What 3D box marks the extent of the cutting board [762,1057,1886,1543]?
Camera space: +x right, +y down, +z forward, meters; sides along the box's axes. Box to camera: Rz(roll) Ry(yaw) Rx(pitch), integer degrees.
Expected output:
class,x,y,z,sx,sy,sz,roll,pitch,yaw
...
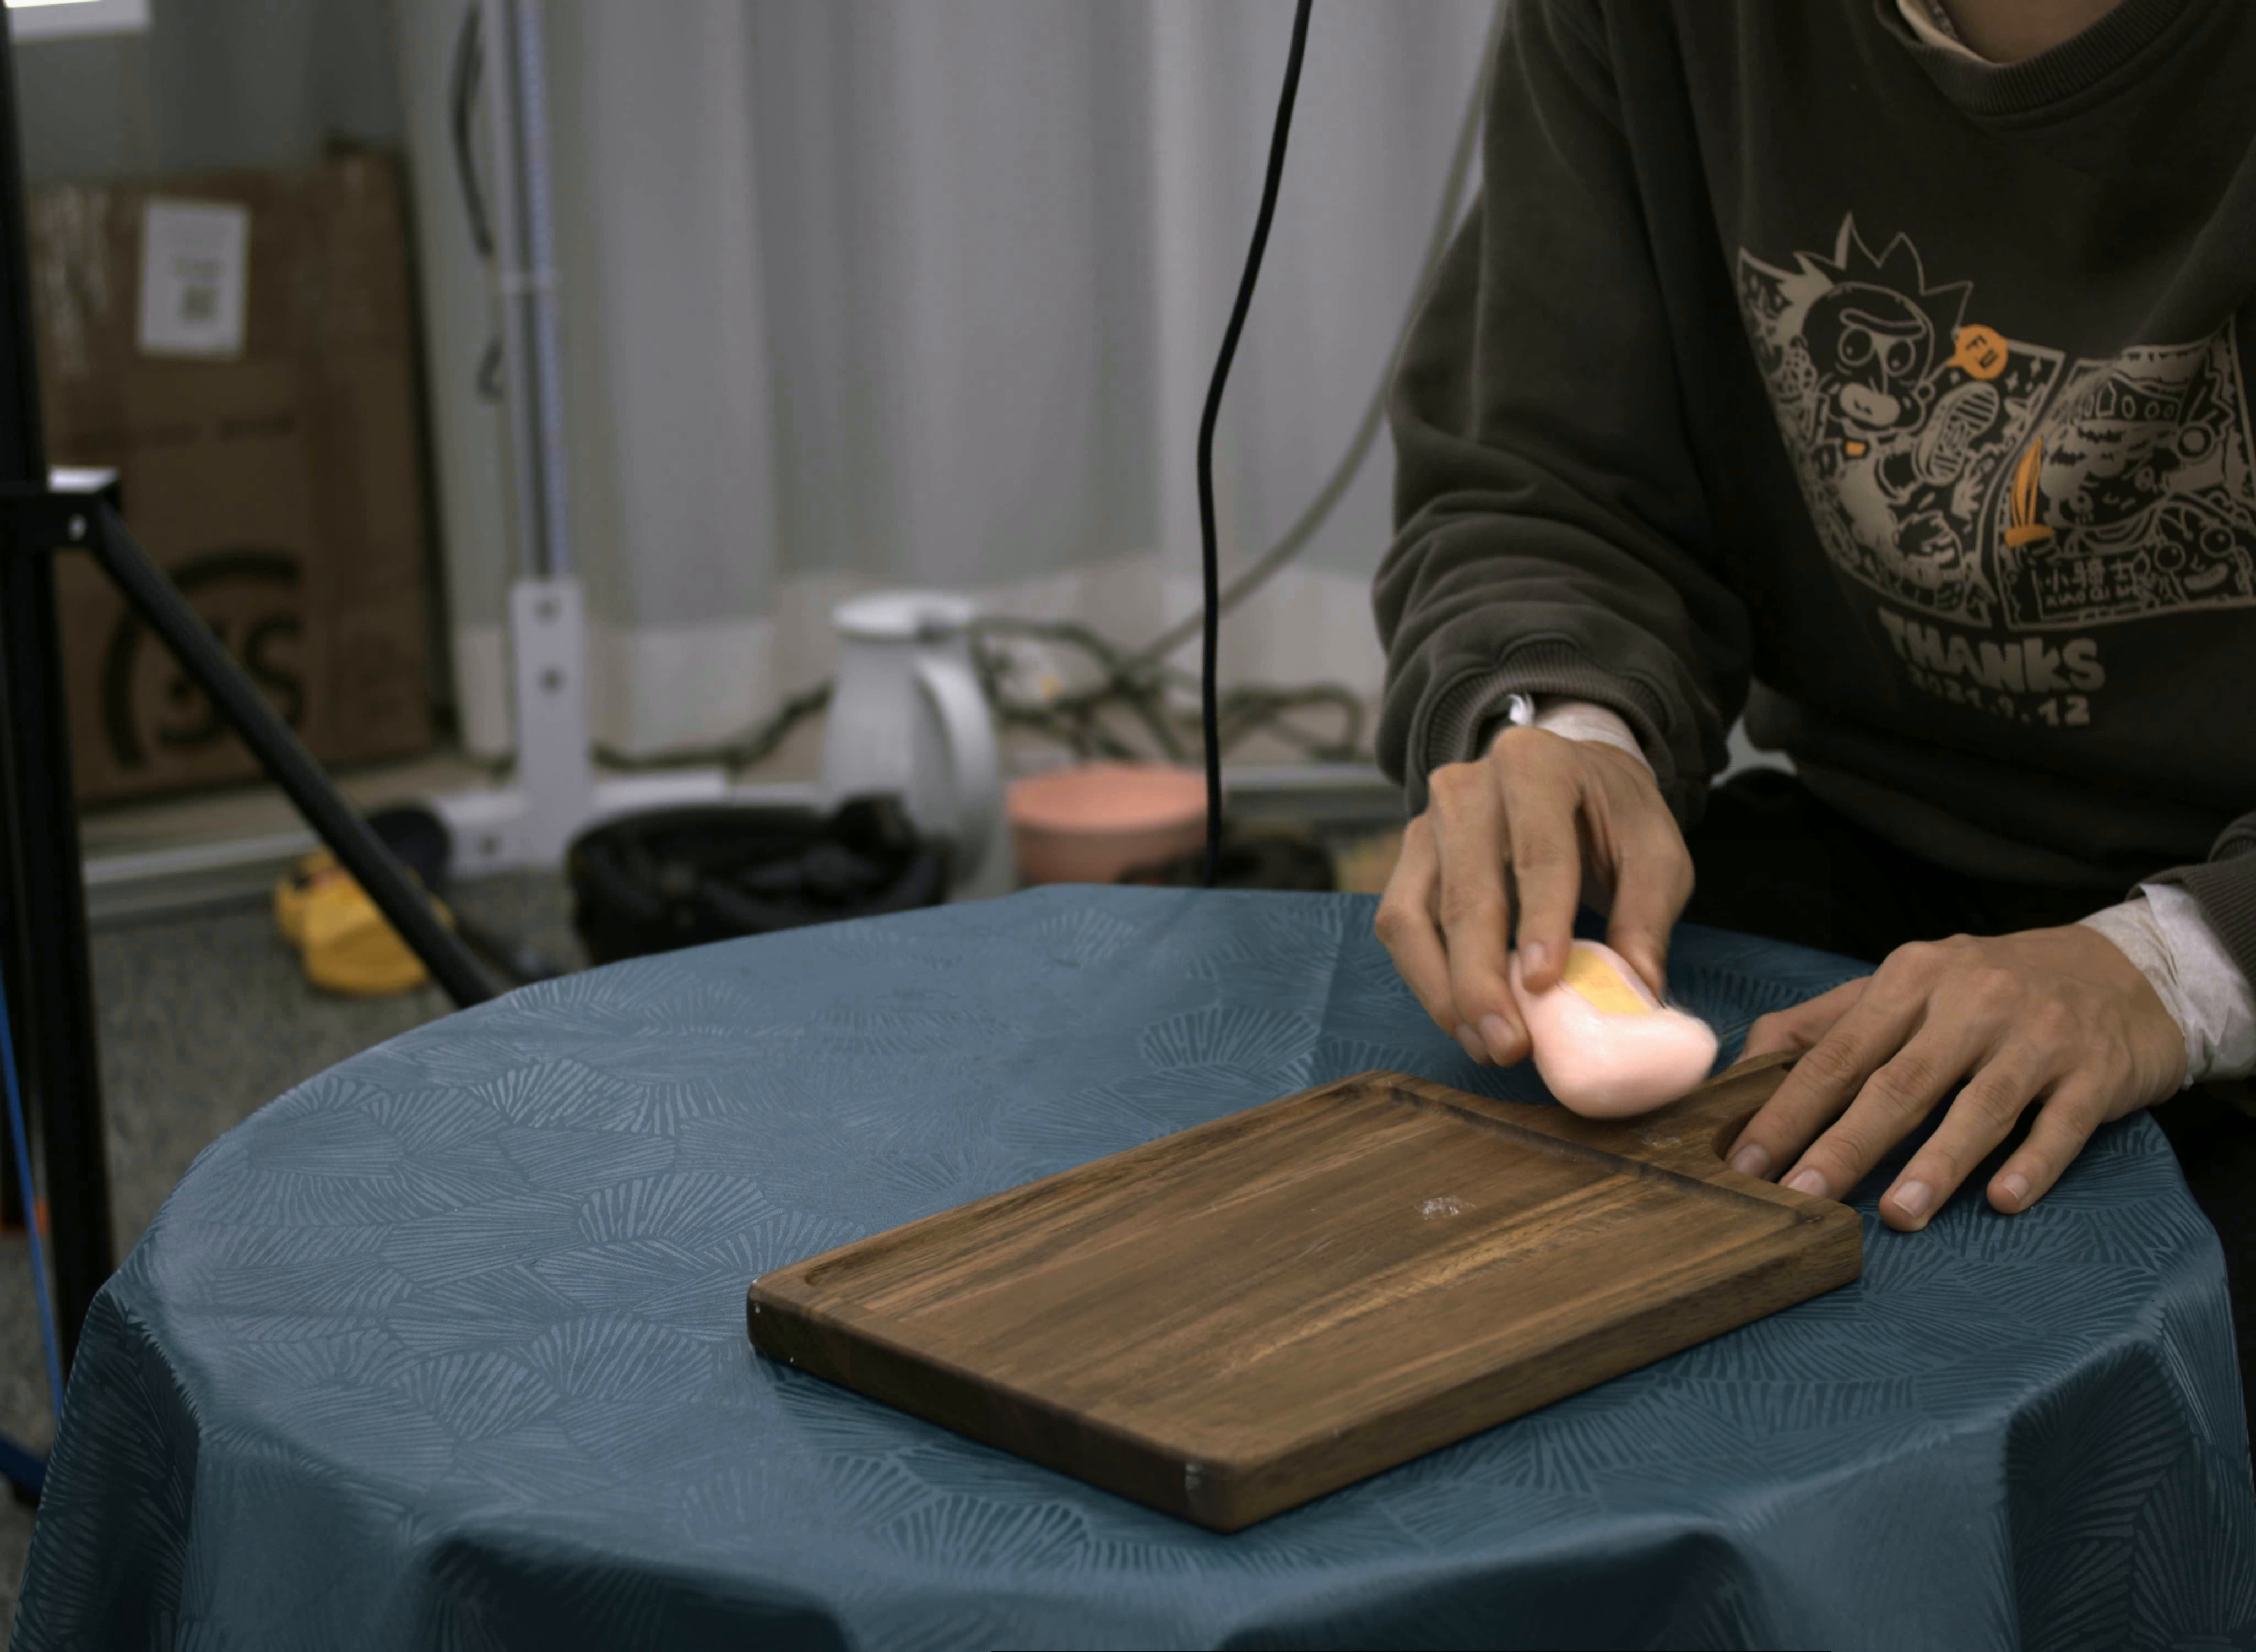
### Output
class,x,y,z,sx,sy,sz,roll,pitch,yaw
cutting board,0.092,0.117,1.477,0.344,0.023,0.206,-15,20,-38

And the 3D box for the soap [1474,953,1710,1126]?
class,x,y,z,sx,sy,sz,roll,pitch,yaw
soap,0.137,0.063,1.563,0.049,0.030,0.096,-6,19,-13
